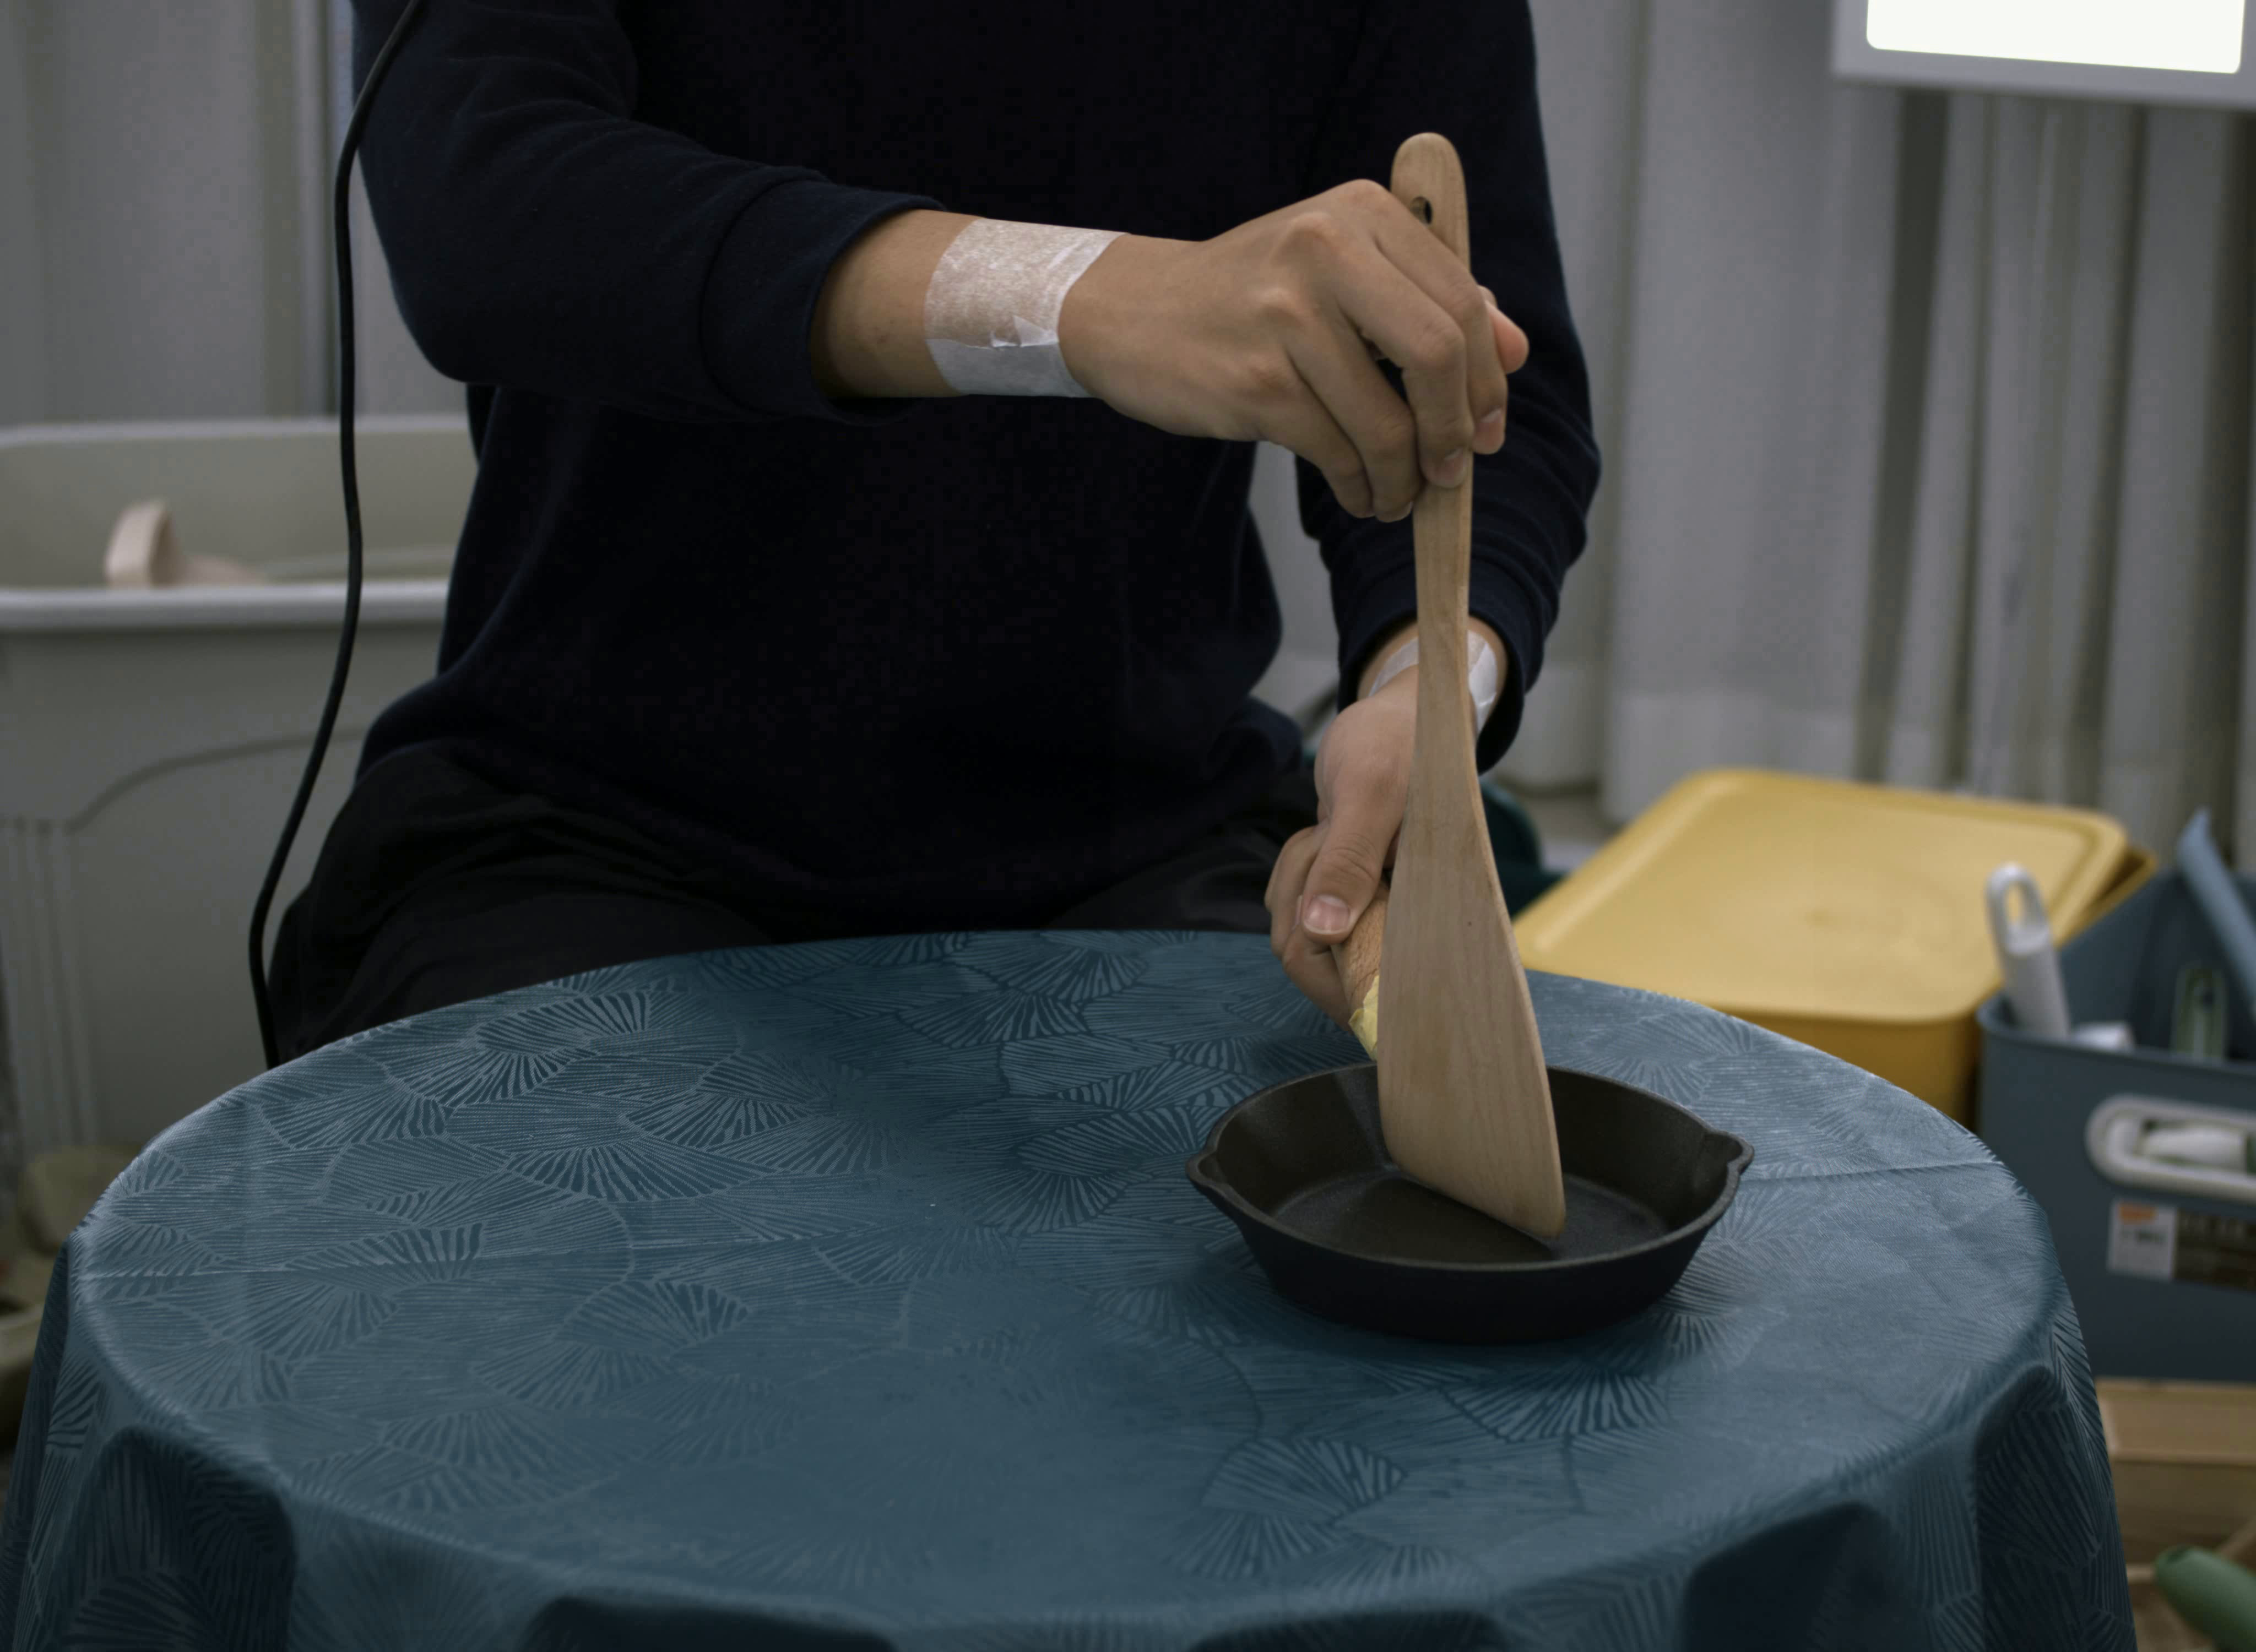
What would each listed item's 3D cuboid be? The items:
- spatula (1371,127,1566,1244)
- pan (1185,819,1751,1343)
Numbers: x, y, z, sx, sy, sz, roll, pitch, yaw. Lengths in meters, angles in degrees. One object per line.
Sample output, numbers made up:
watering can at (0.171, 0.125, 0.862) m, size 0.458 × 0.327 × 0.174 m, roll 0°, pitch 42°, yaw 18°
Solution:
spatula at (0.095, -0.041, 1.553) m, size 0.016 × 0.329 × 0.079 m, roll -9°, pitch 11°, yaw -39°
pan at (0.091, 0.075, 1.626) m, size 0.169 × 0.050 × 0.321 m, roll -1°, pitch 21°, yaw -6°
